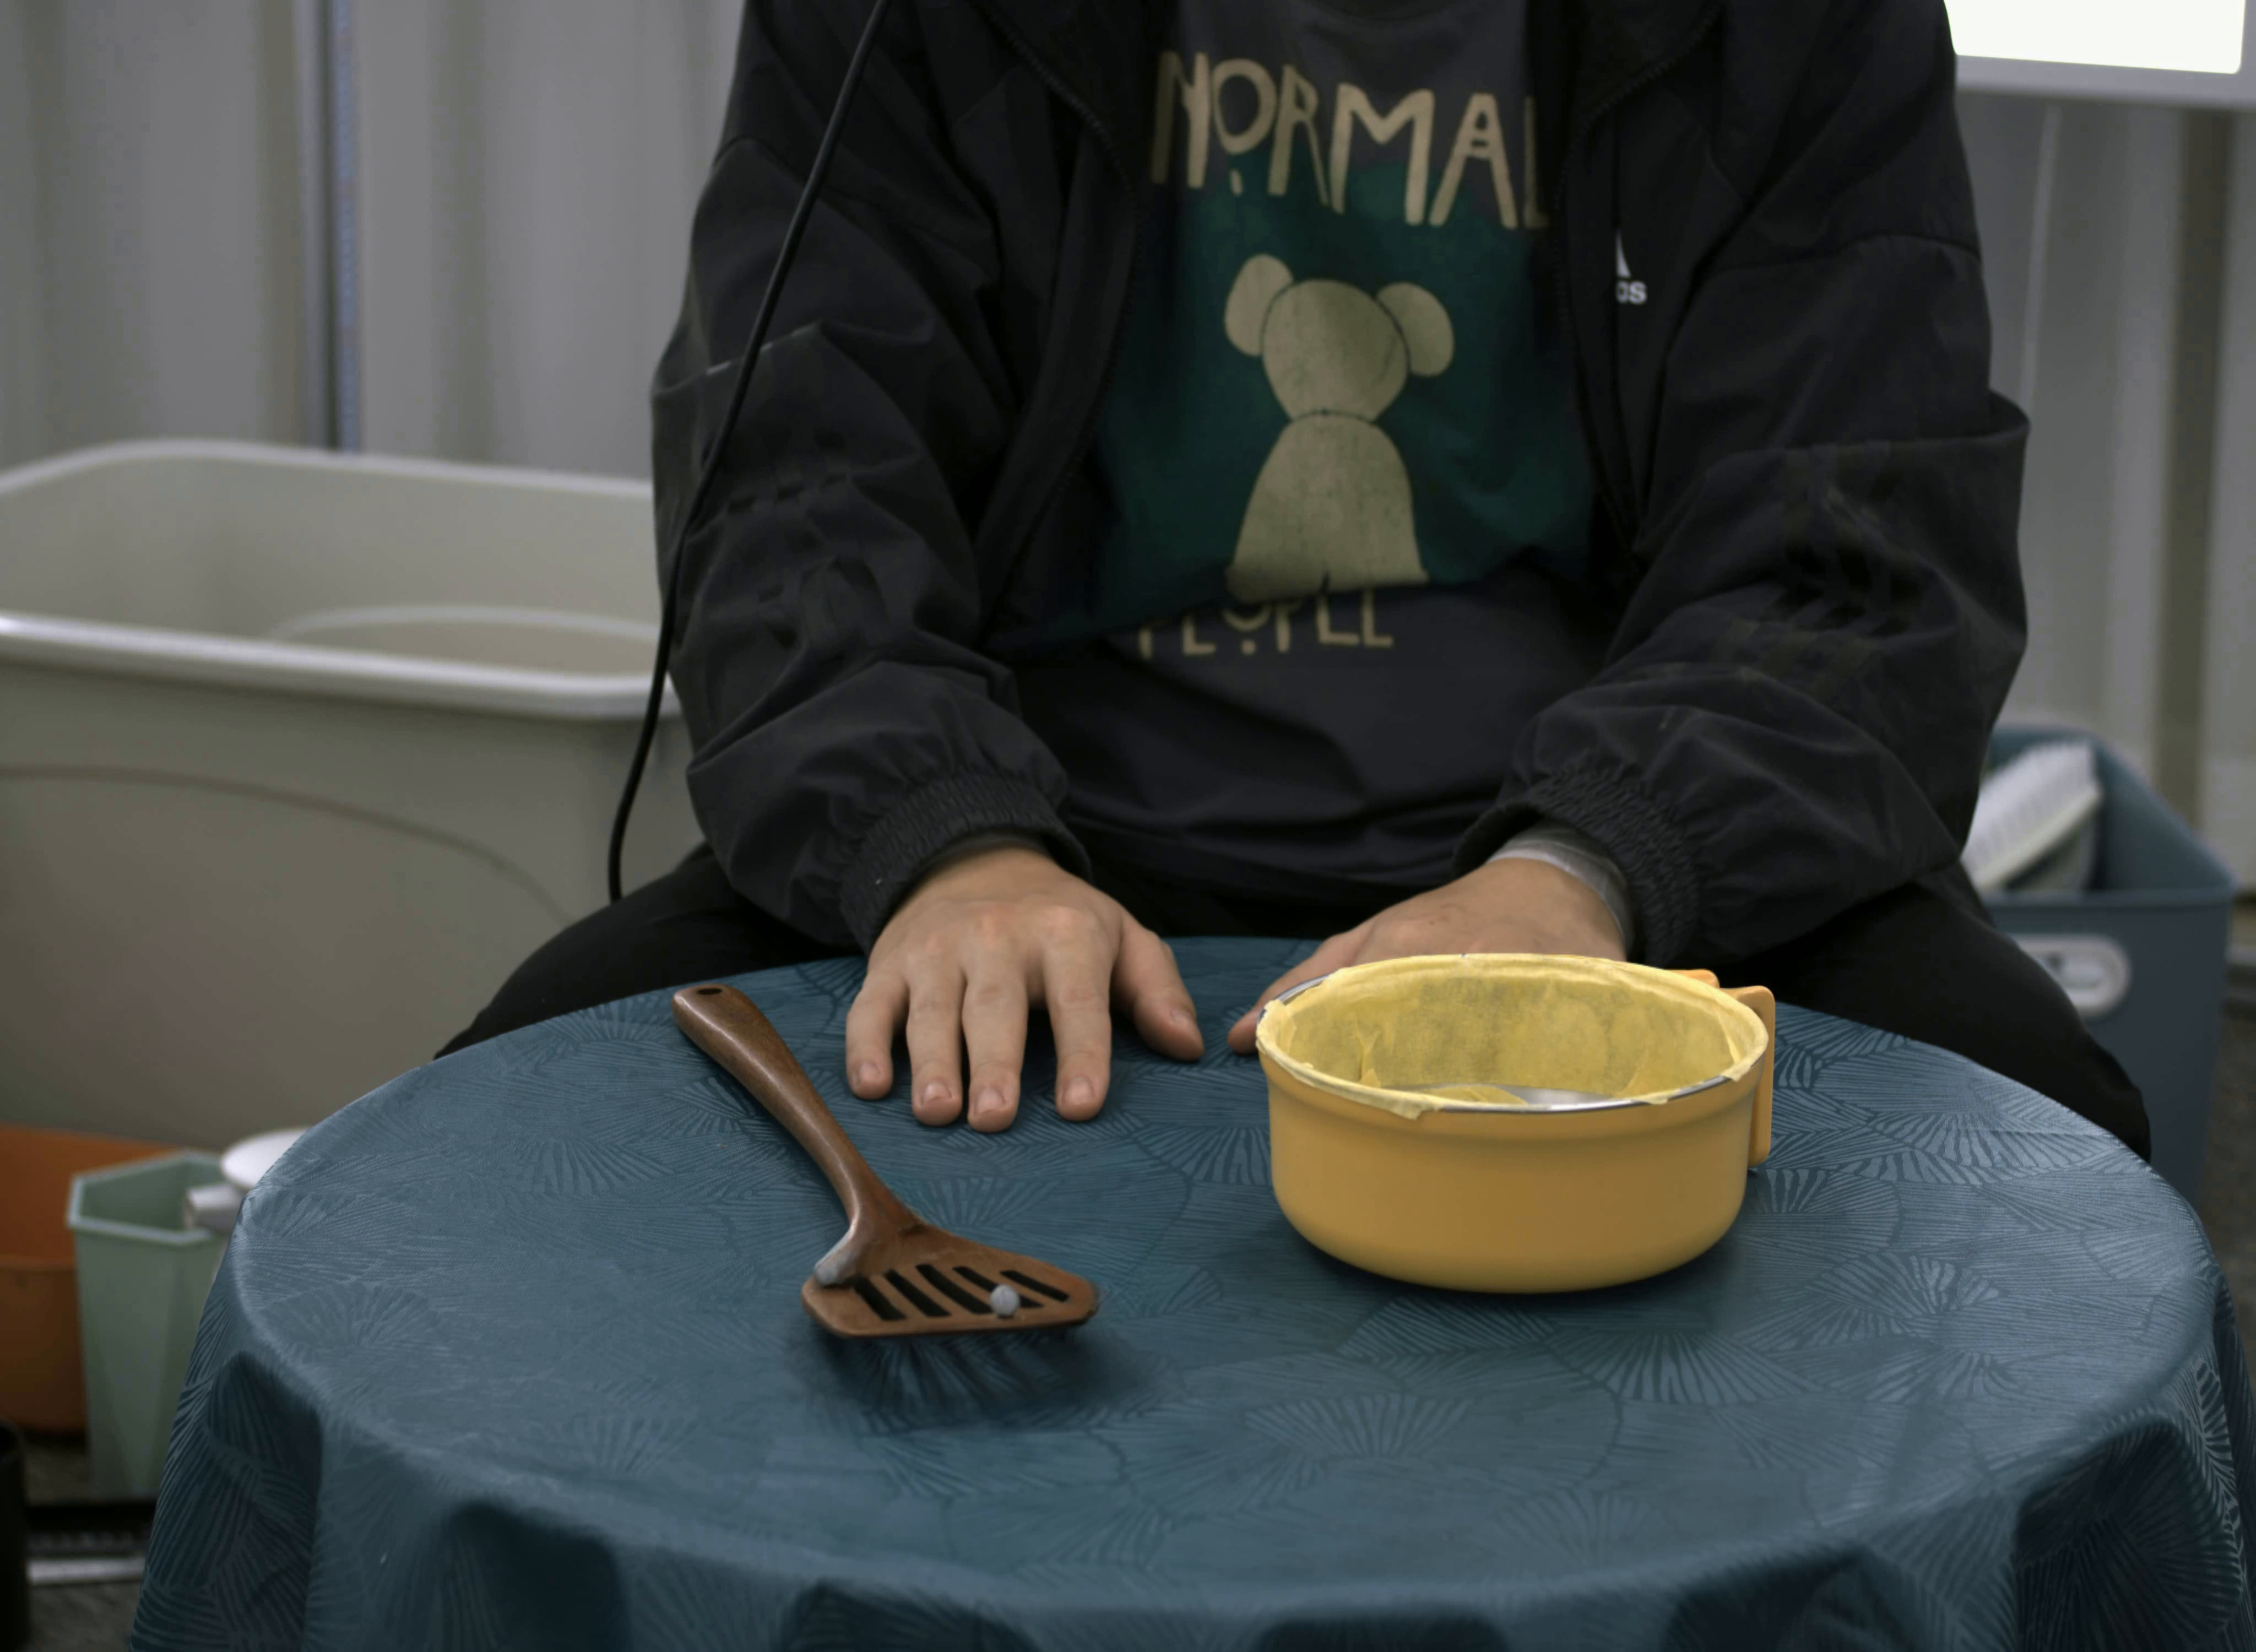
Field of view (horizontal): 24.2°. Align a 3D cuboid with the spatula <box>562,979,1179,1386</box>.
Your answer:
[{"bbox_3d":[-0.101,0.110,1.616,0.086,0.024,0.382,2,15,-28],"label":"spatula"}]

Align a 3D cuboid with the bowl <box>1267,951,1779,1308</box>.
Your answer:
[{"bbox_3d":[0.127,0.091,1.588,0.151,0.075,0.180,15,21,41],"label":"bowl"}]
